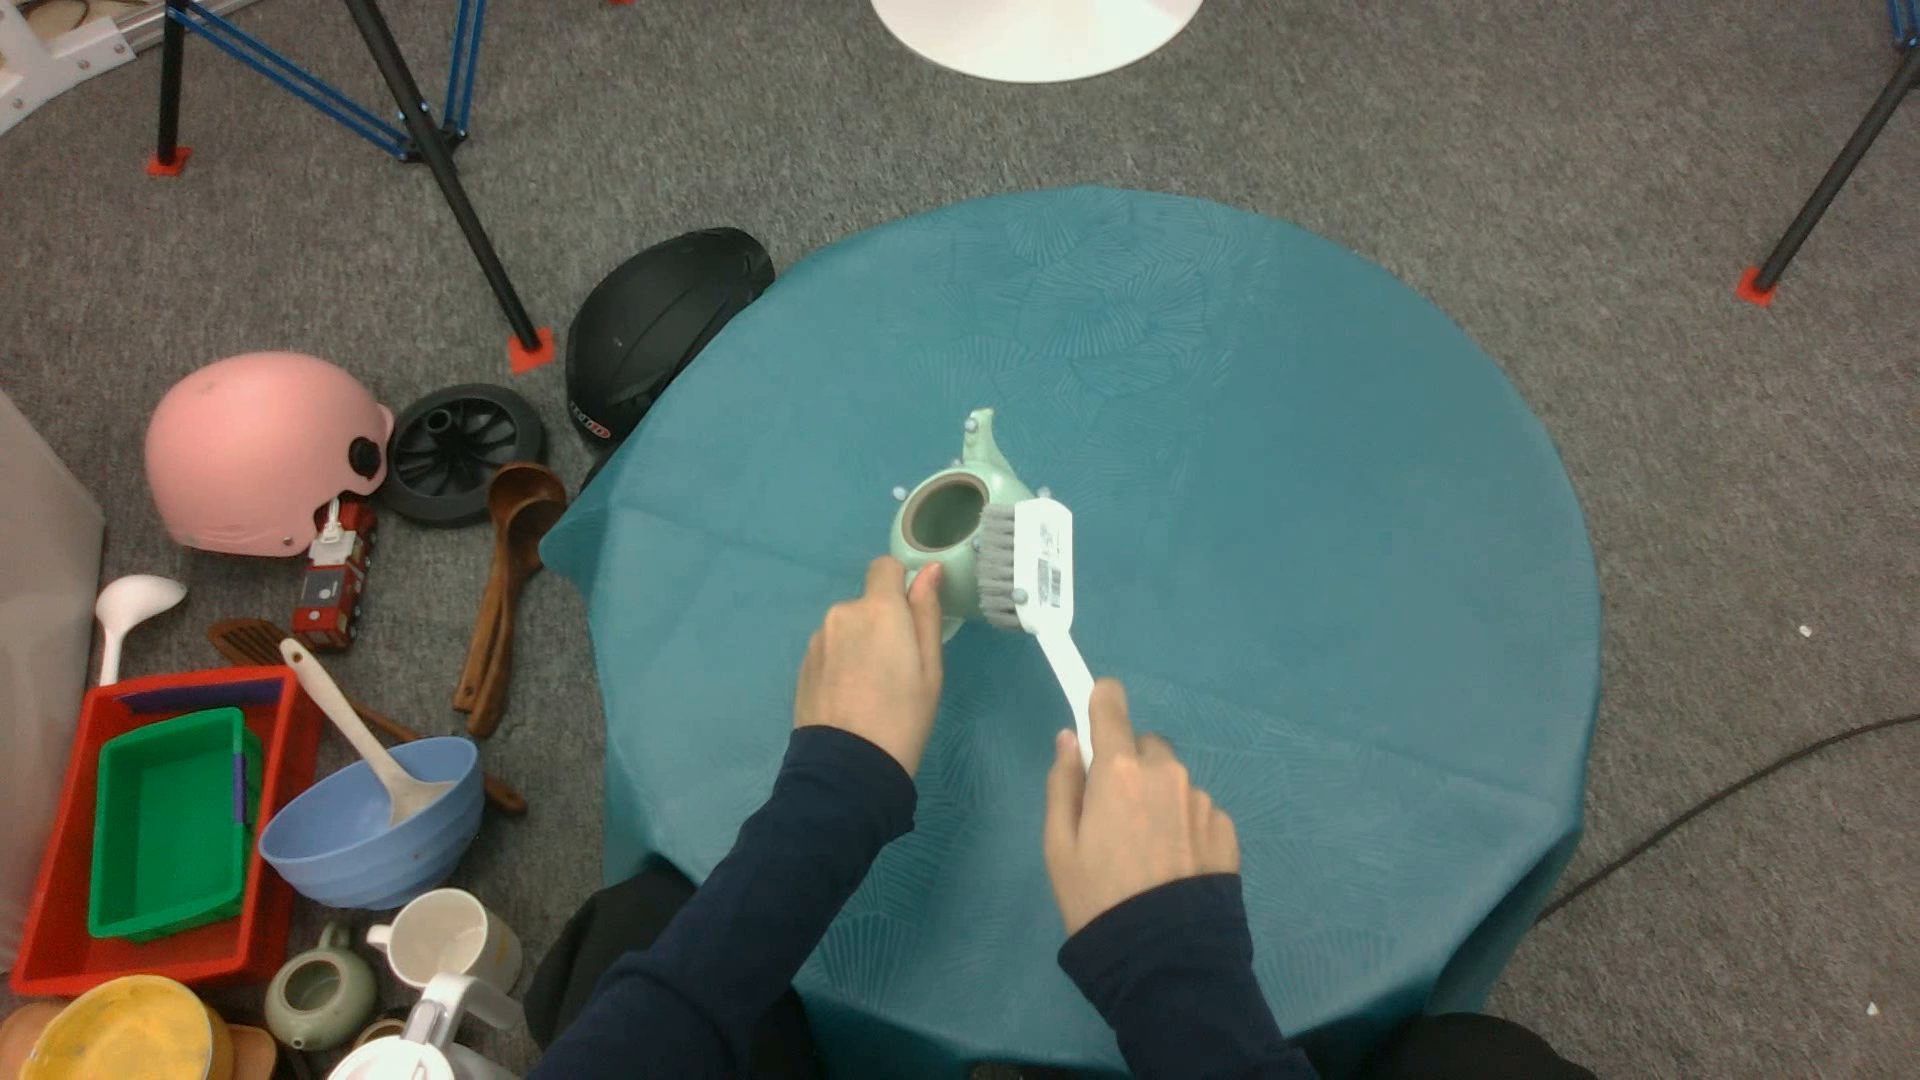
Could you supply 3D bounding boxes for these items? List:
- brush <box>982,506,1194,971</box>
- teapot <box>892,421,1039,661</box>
[{"bbox_3d":[0.056,0.091,0.670,0.050,0.034,0.244,-29,63,29],"label":"brush"},{"bbox_3d":[0.006,0.009,0.768,0.088,0.074,0.144,4,56,33],"label":"teapot"}]
